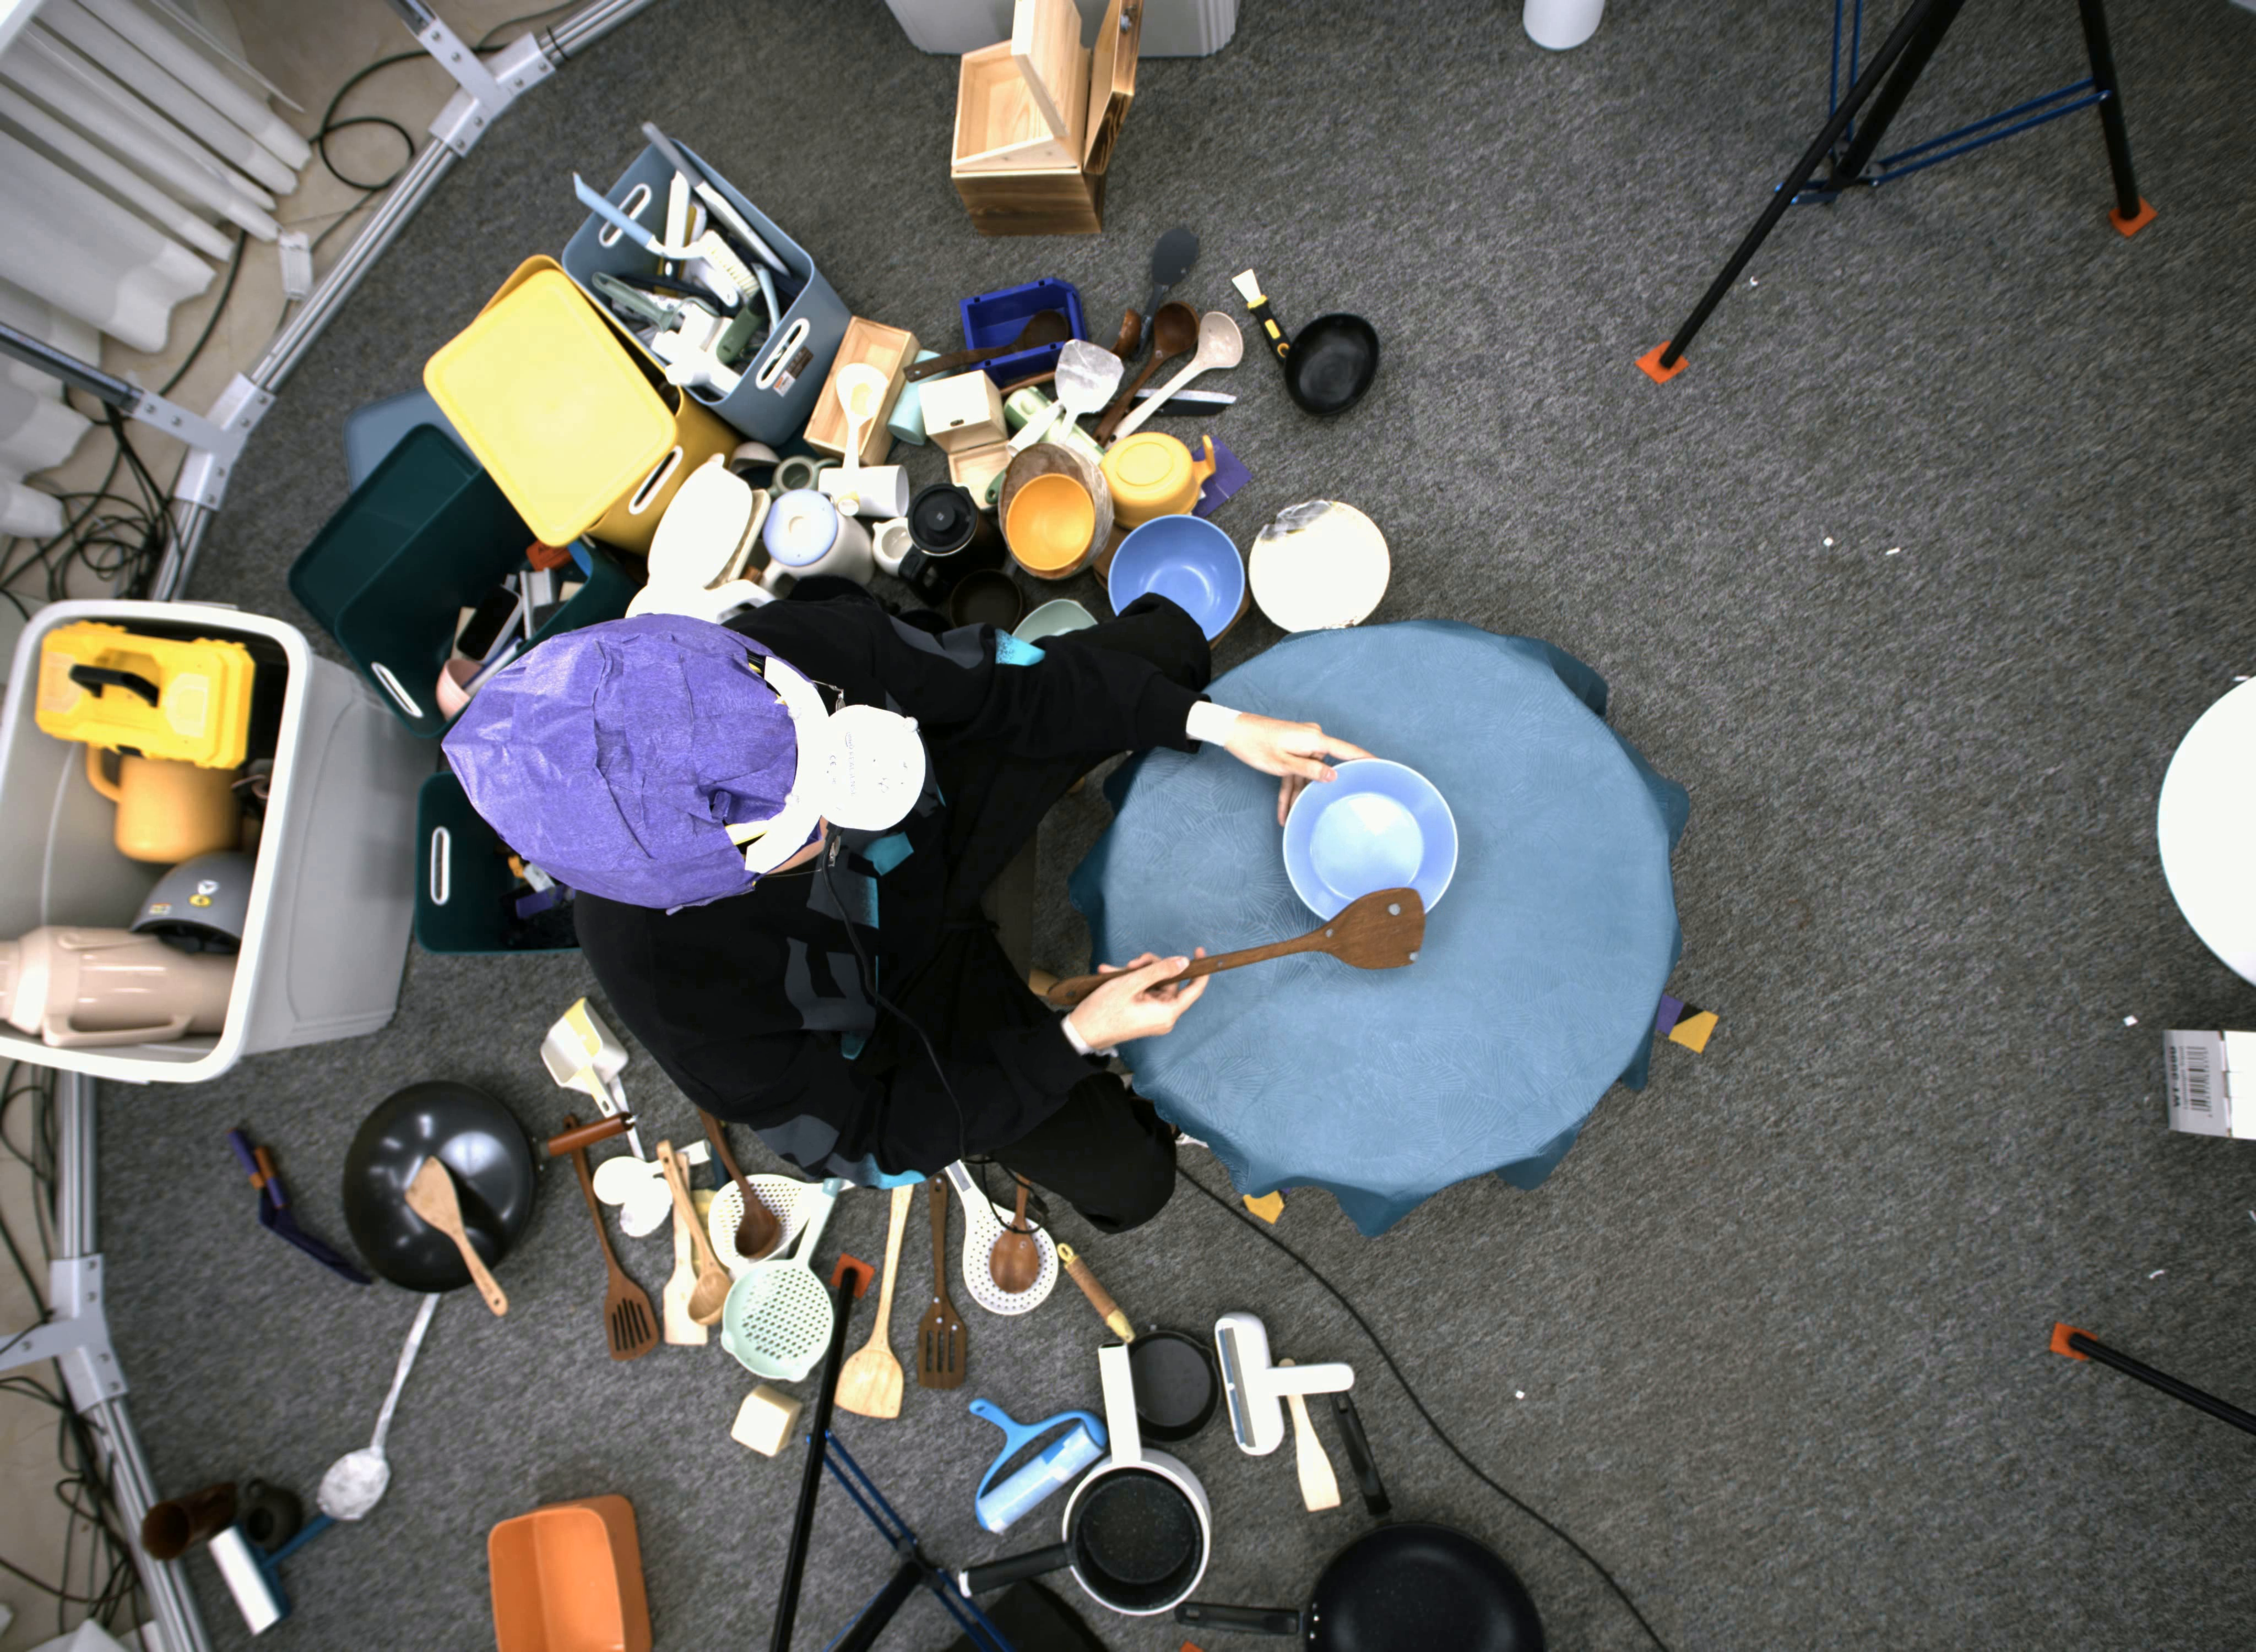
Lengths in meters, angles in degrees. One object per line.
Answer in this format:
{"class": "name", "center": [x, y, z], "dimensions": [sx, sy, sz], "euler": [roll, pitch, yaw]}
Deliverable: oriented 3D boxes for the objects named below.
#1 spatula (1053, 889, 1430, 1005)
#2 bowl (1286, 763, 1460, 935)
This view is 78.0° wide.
{"class": "spatula", "center": [0.116, 0.130, 1.362], "dimensions": [0.385, 0.015, 0.098], "euler": [-10, 121, -9]}
{"class": "bowl", "center": [0.252, 0.025, 1.429], "dimensions": [0.176, 0.070, 0.175], "euler": [-1, 87, 8]}
